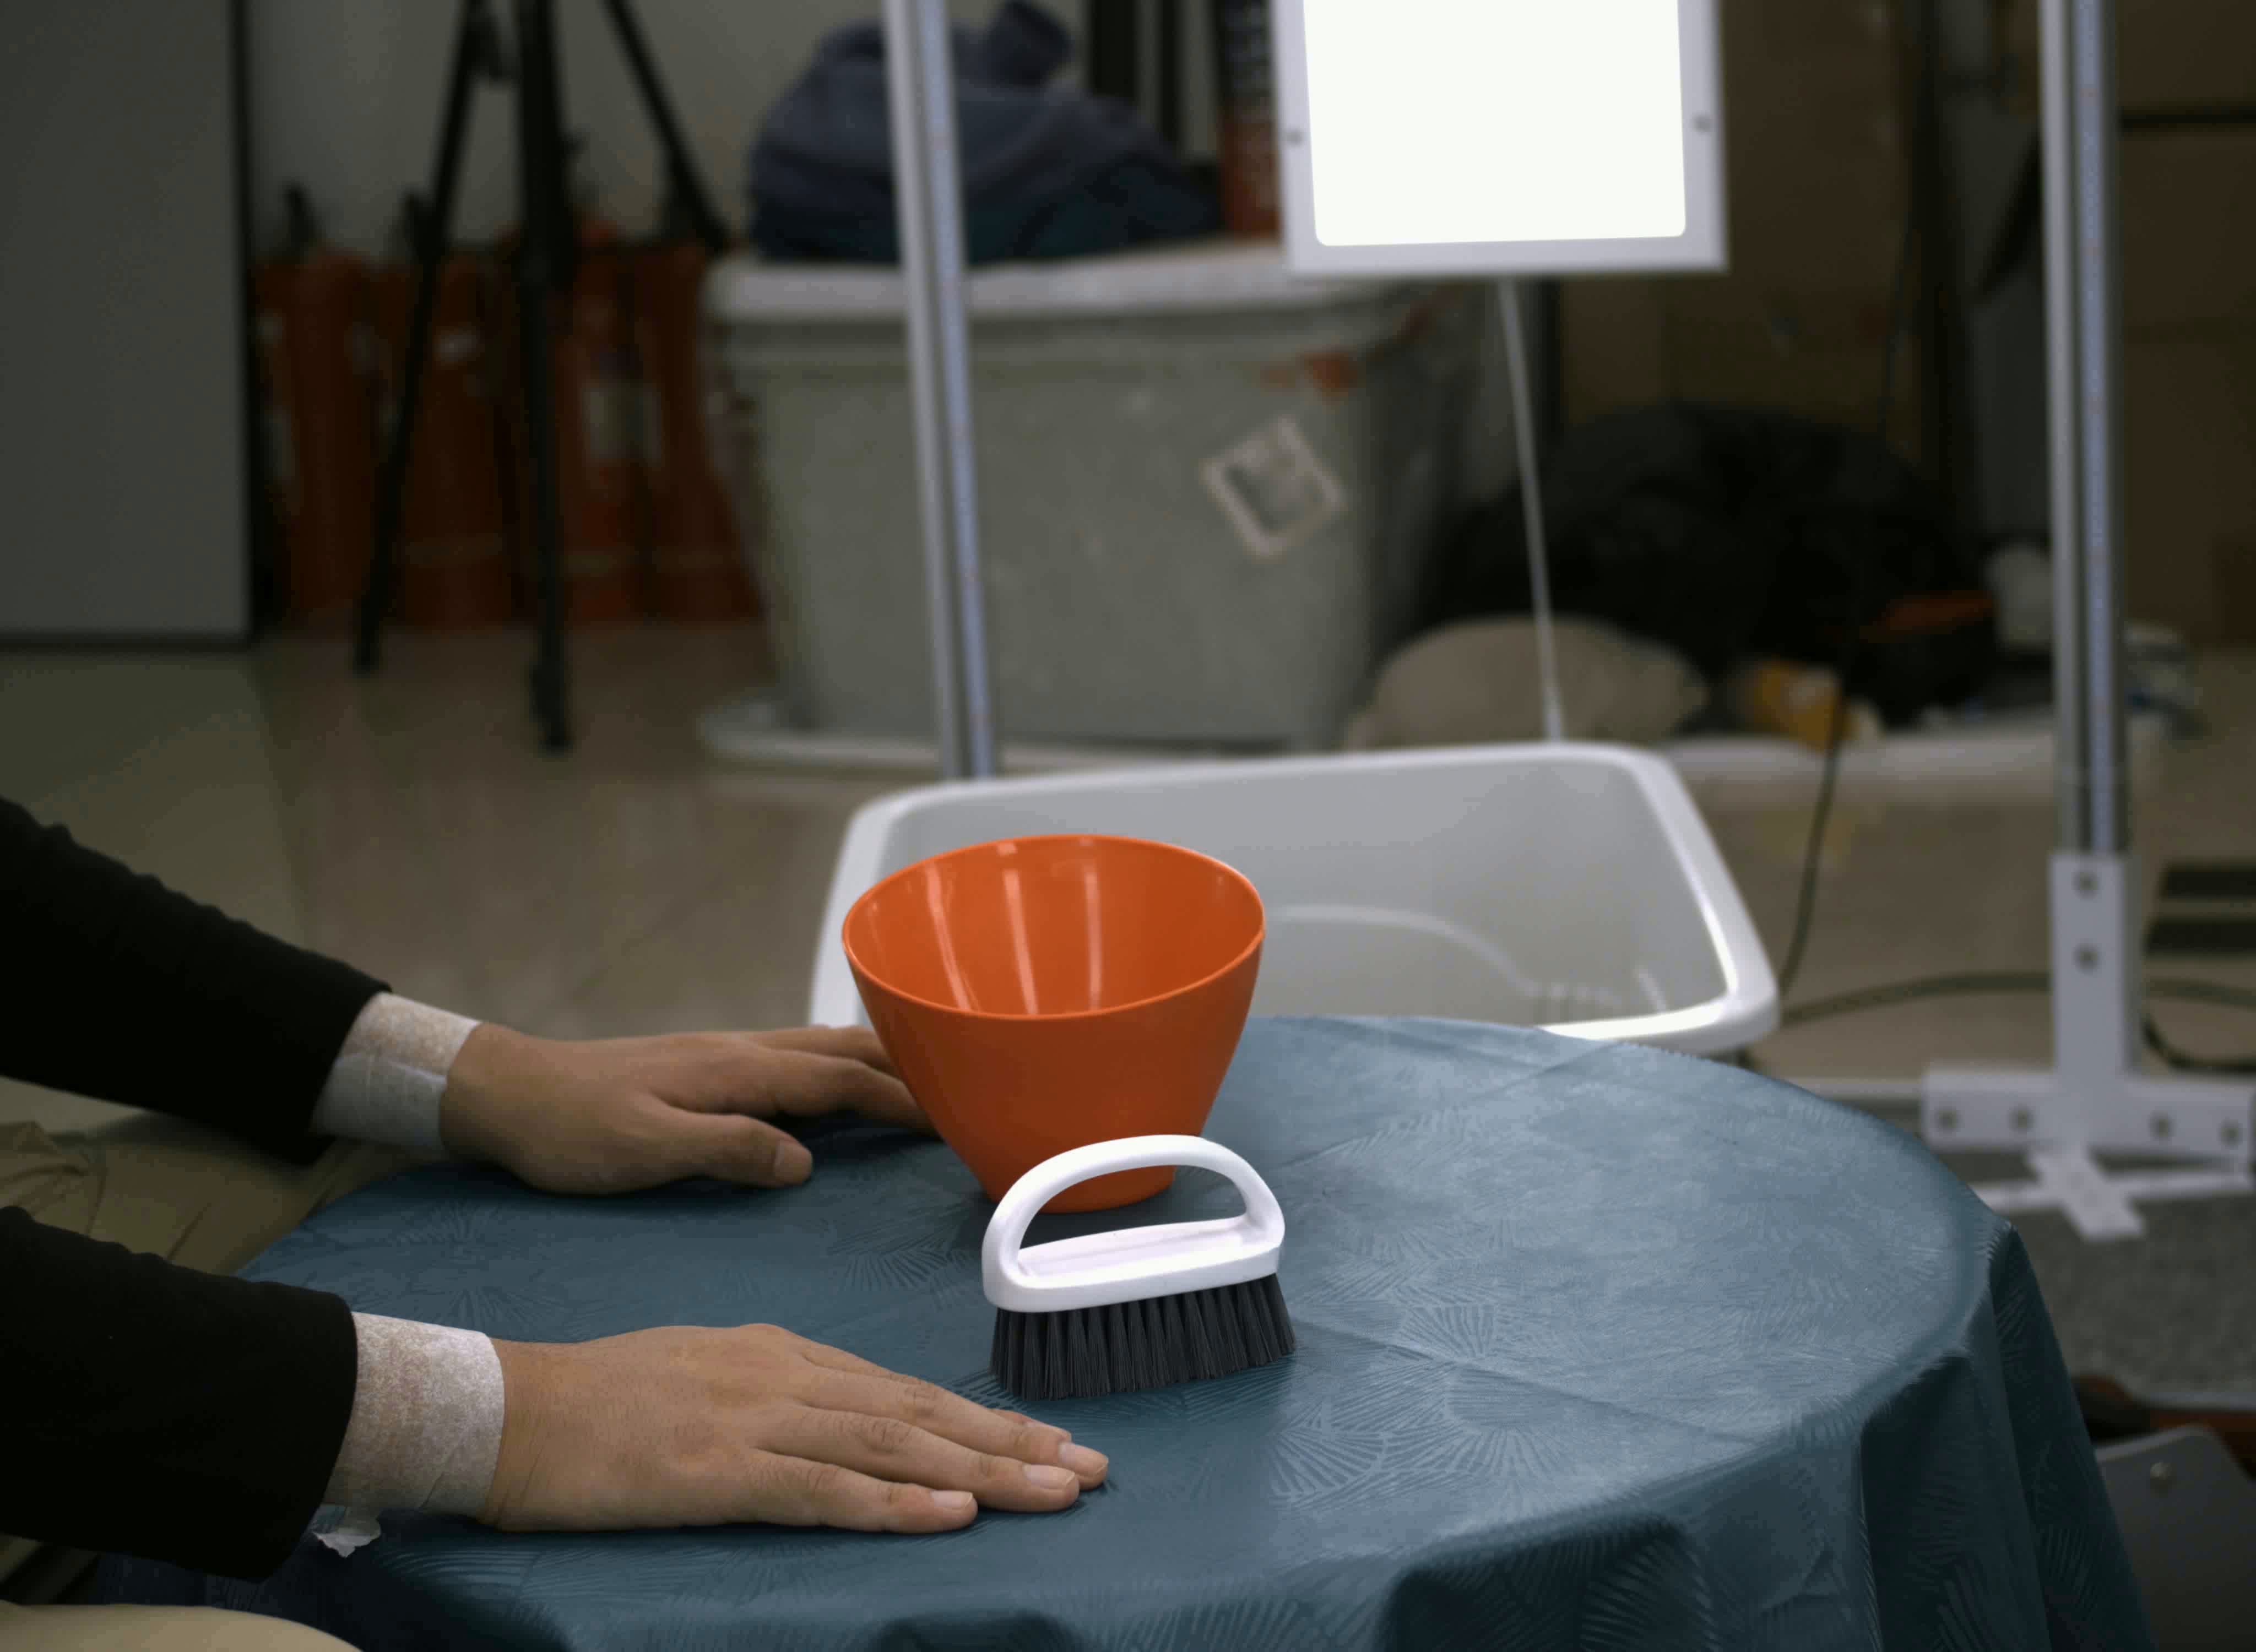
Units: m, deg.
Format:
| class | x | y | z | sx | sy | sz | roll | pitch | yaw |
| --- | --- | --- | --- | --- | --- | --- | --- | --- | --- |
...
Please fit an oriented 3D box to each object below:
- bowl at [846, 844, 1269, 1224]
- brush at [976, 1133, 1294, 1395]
| class | x | y | z | sx | sy | sz | roll | pitch | yaw |
| --- | --- | --- | --- | --- | --- | --- | --- | --- | --- |
| bowl | -0.020 | 0.075 | 1.910 | 0.147 | 0.105 | 0.148 | -6 | 15 | 0 |
| brush | 0.001 | 0.133 | 1.719 | 0.098 | 0.073 | 0.050 | -7 | 15 | -9 |
